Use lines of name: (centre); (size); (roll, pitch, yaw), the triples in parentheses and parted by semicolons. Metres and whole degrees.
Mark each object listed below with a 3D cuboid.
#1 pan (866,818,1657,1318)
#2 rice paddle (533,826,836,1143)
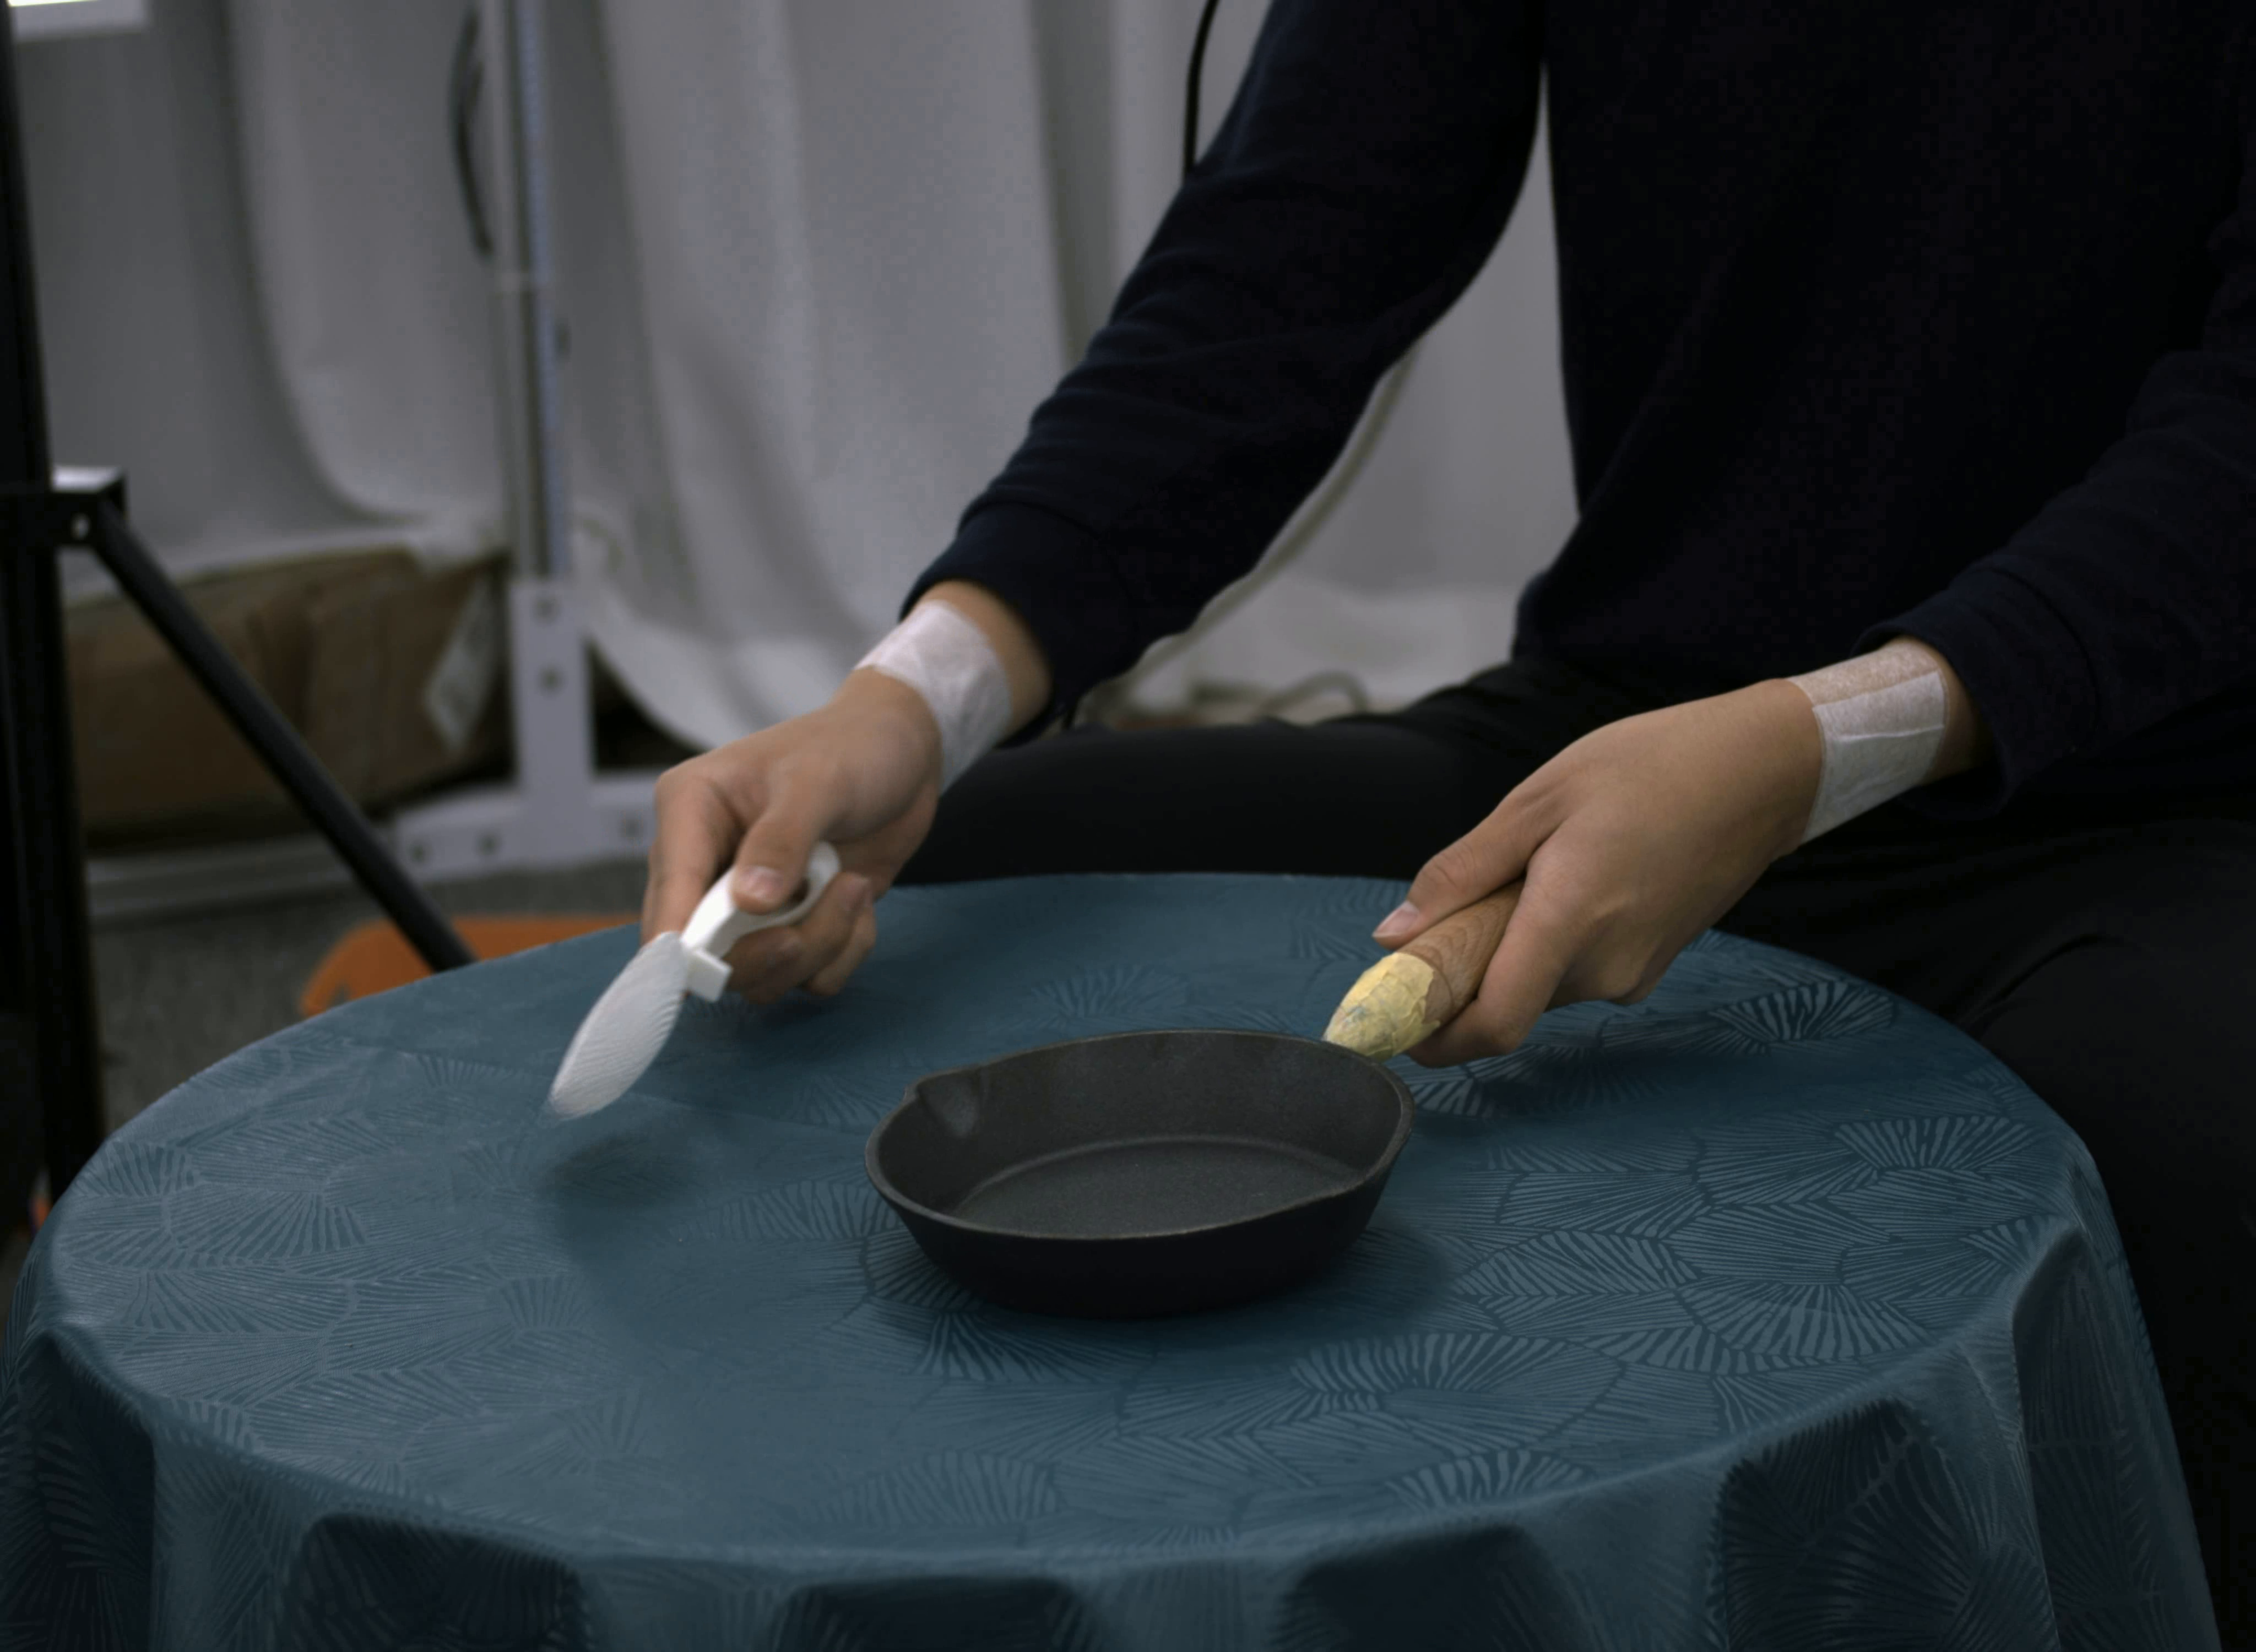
pan: (0.060, 0.068, 1.563); (0.173, 0.049, 0.317); (11, 26, 42)
rice paddle: (-0.141, 0.044, 1.653); (0.029, 0.069, 0.203); (26, 24, 9)
